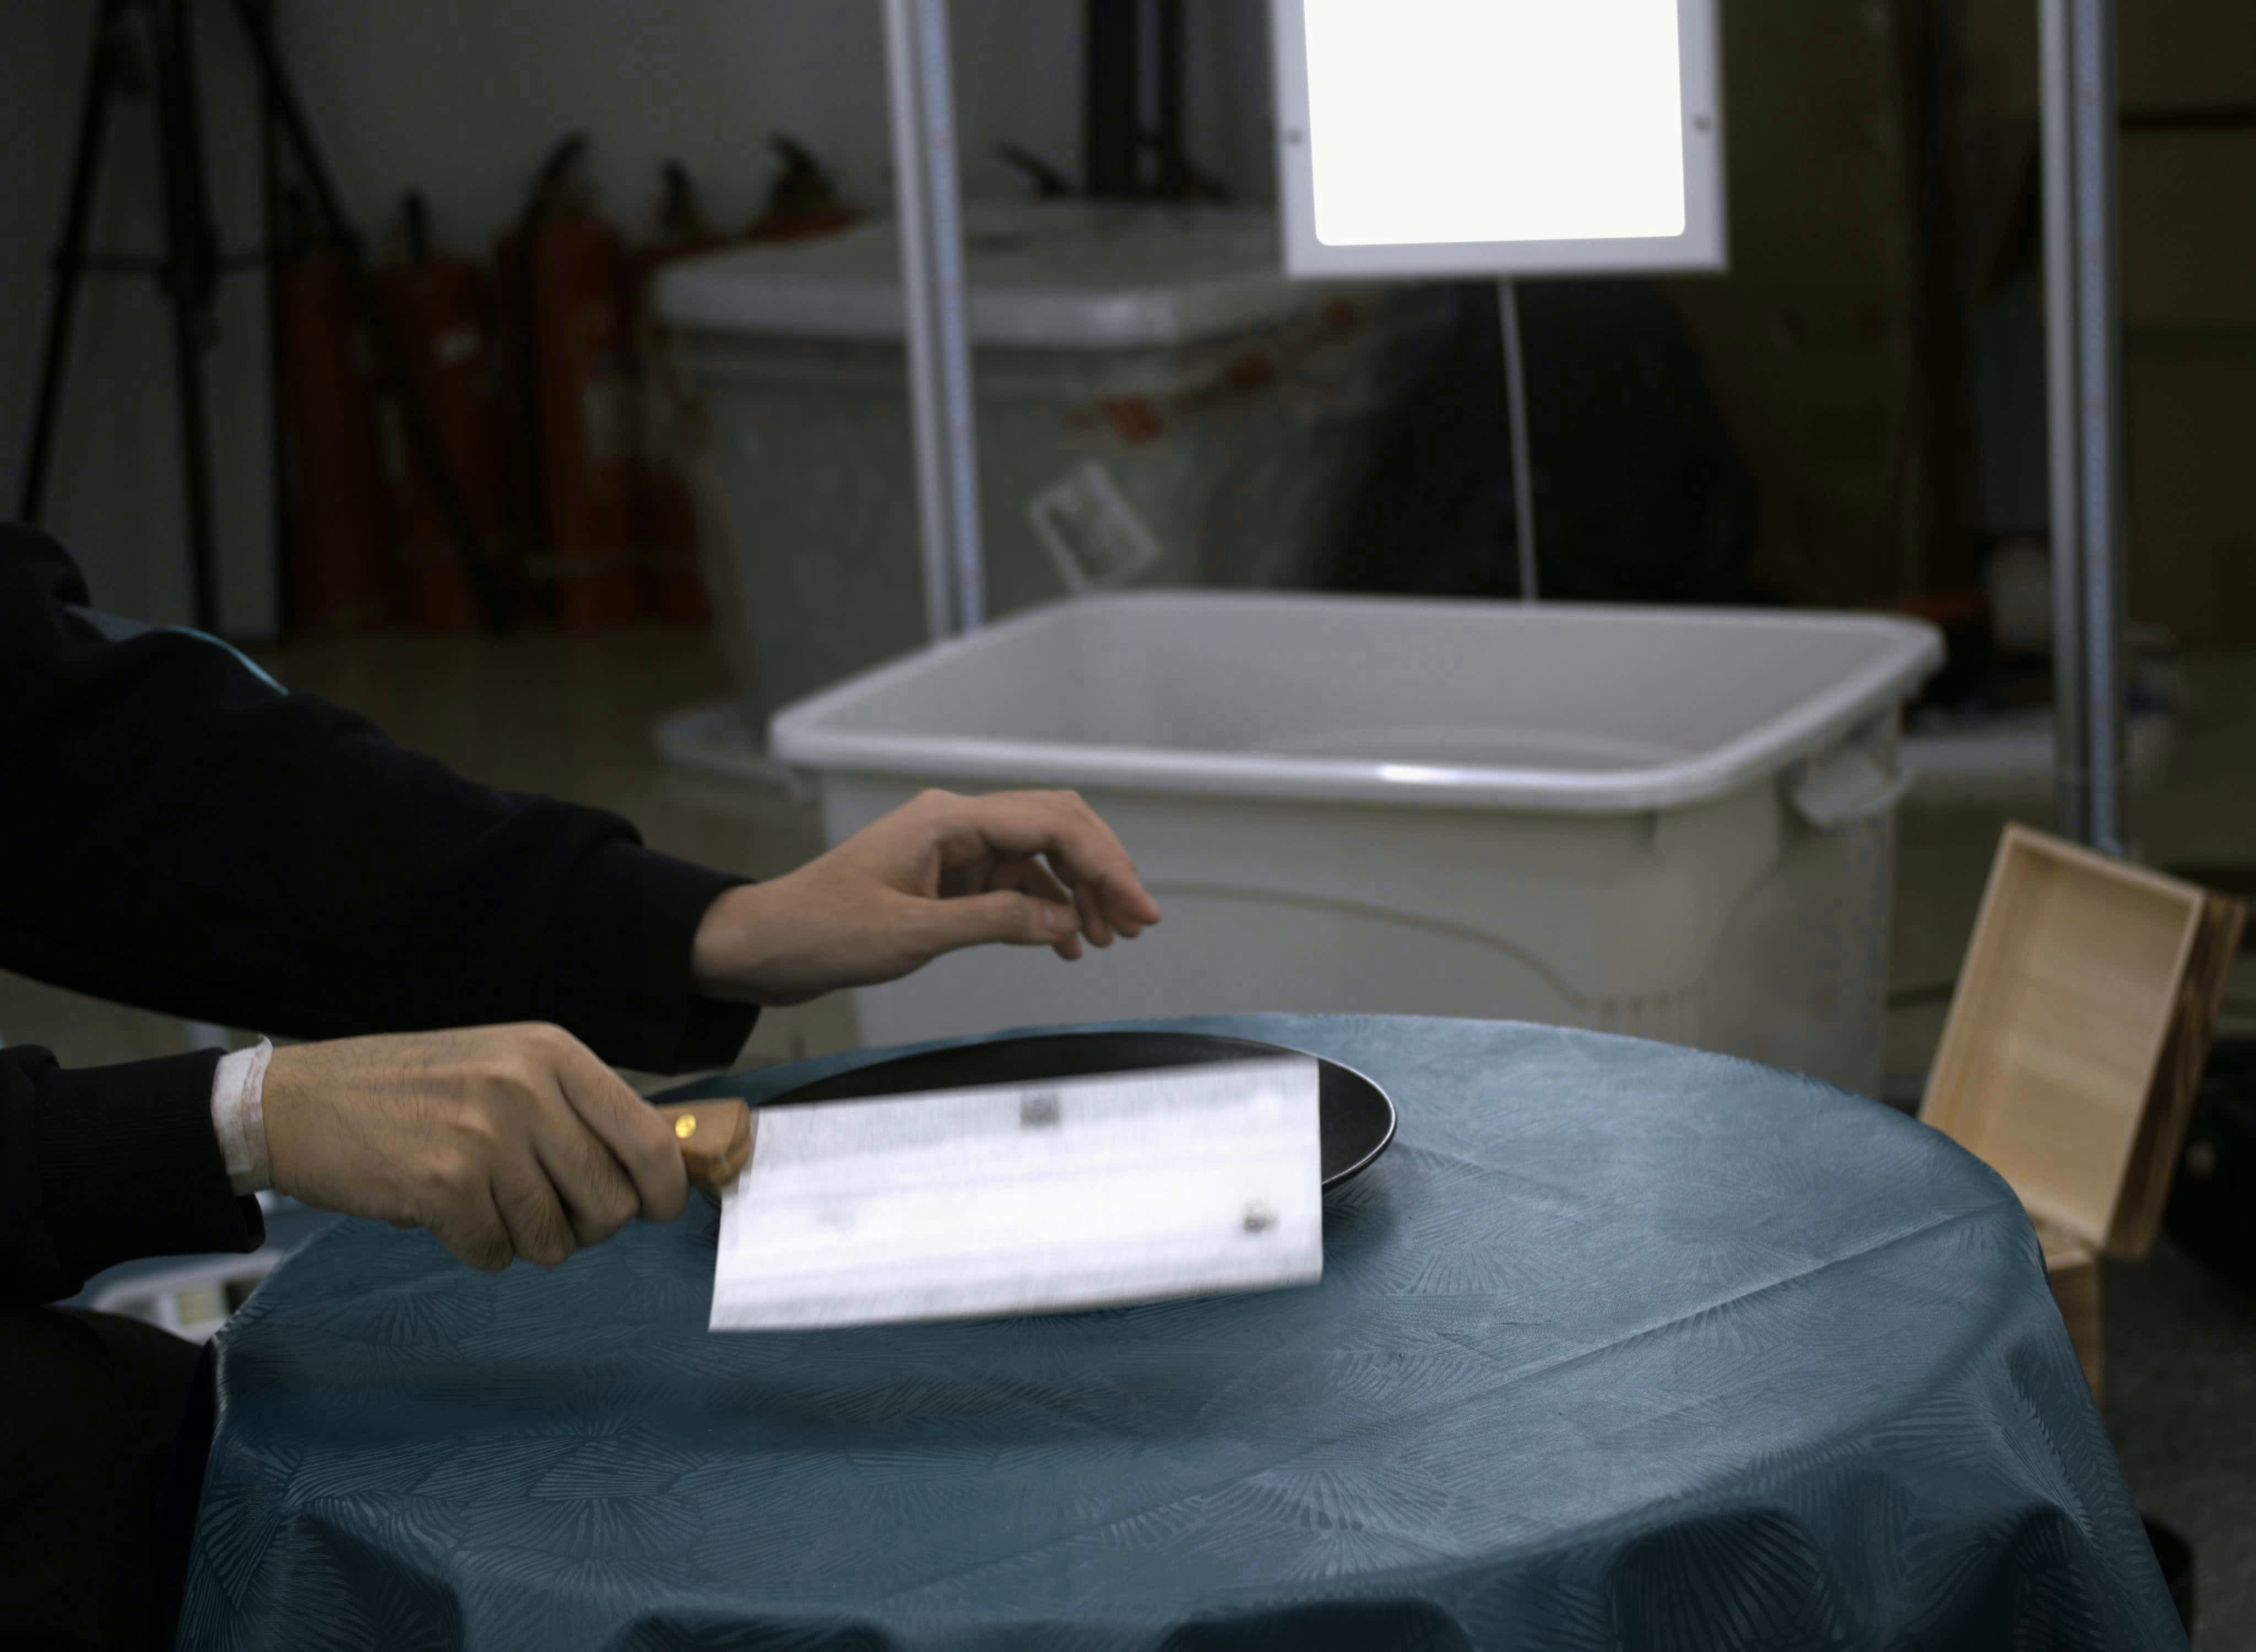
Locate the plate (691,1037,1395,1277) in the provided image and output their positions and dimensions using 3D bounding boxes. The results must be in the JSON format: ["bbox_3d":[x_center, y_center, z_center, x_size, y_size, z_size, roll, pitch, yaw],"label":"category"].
[{"bbox_3d":[-0.028,0.116,1.897,0.244,0.023,0.244,-5,14,0],"label":"plate"}]

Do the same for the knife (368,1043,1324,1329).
[{"bbox_3d":[-0.090,0.116,1.713,0.307,0.021,0.092,-7,46,9],"label":"knife"}]
